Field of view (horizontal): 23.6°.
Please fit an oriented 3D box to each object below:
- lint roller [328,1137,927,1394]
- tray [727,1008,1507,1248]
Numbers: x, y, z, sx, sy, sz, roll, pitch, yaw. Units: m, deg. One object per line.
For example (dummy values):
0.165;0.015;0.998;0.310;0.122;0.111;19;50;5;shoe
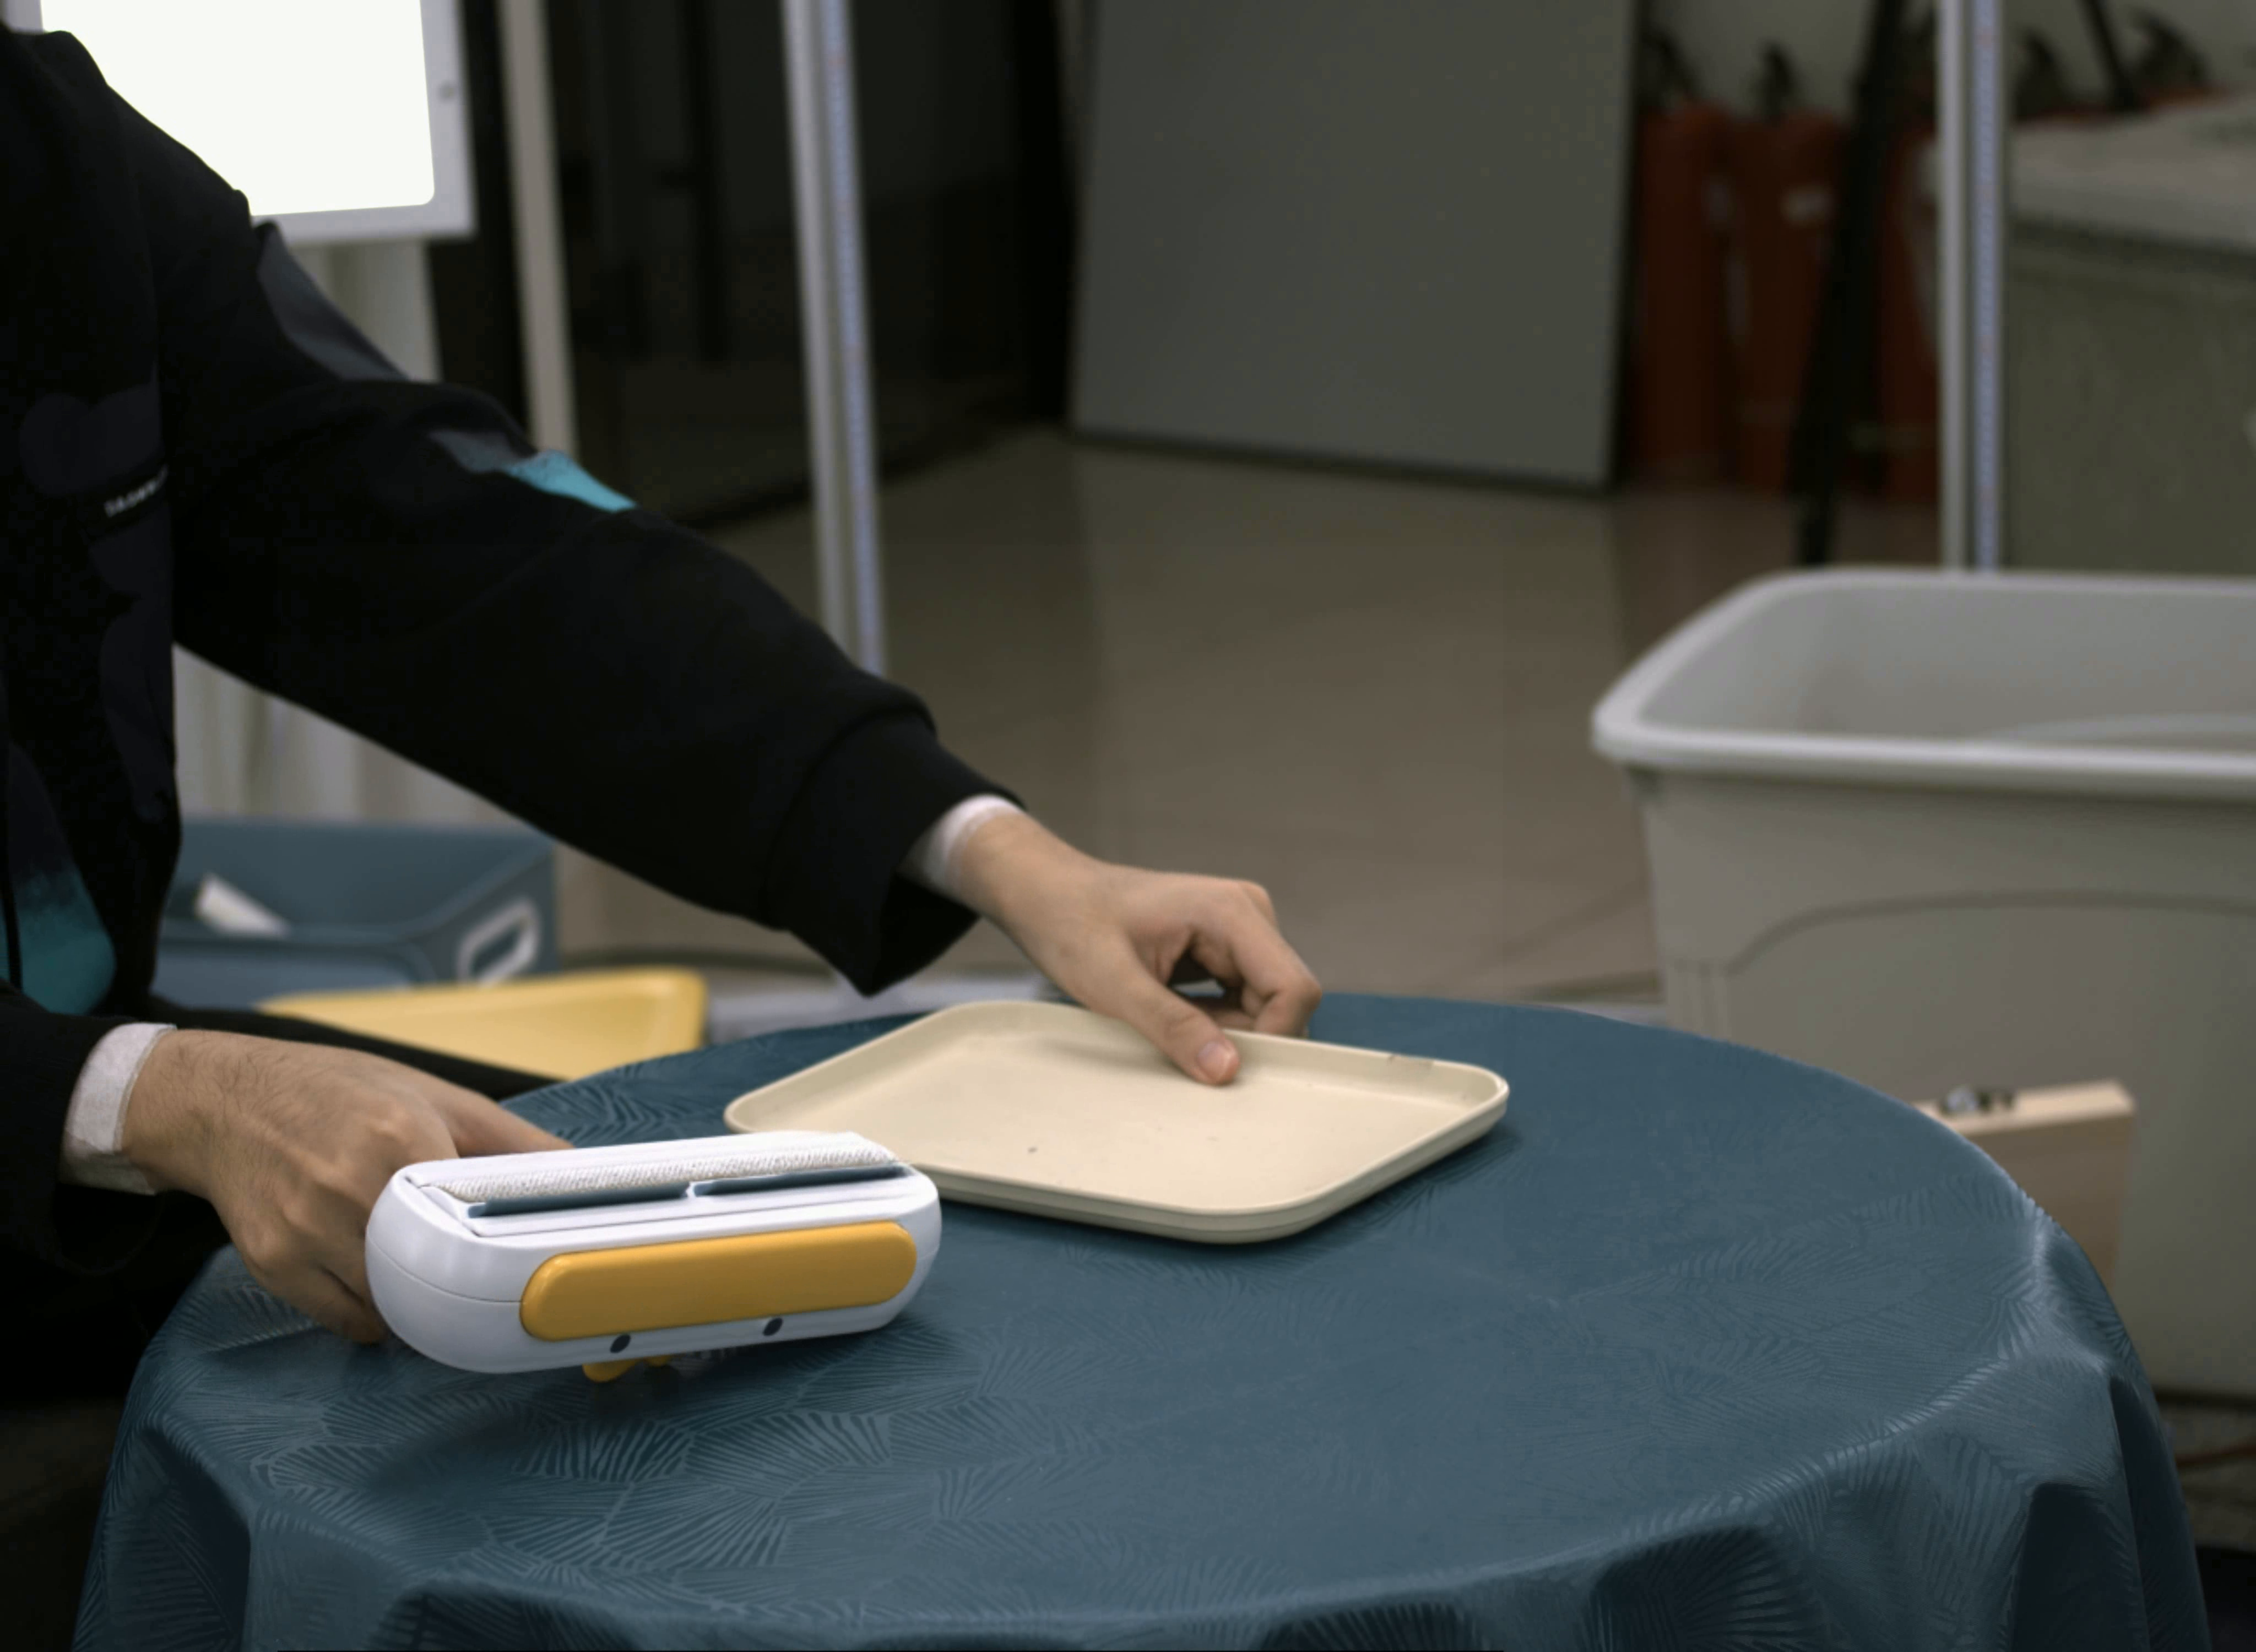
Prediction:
-0.181;0.122;1.663;0.188;0.075;0.194;-7;15;-35;lint roller
-0.004;0.101;1.818;0.241;0.017;0.168;6;18;37;tray
